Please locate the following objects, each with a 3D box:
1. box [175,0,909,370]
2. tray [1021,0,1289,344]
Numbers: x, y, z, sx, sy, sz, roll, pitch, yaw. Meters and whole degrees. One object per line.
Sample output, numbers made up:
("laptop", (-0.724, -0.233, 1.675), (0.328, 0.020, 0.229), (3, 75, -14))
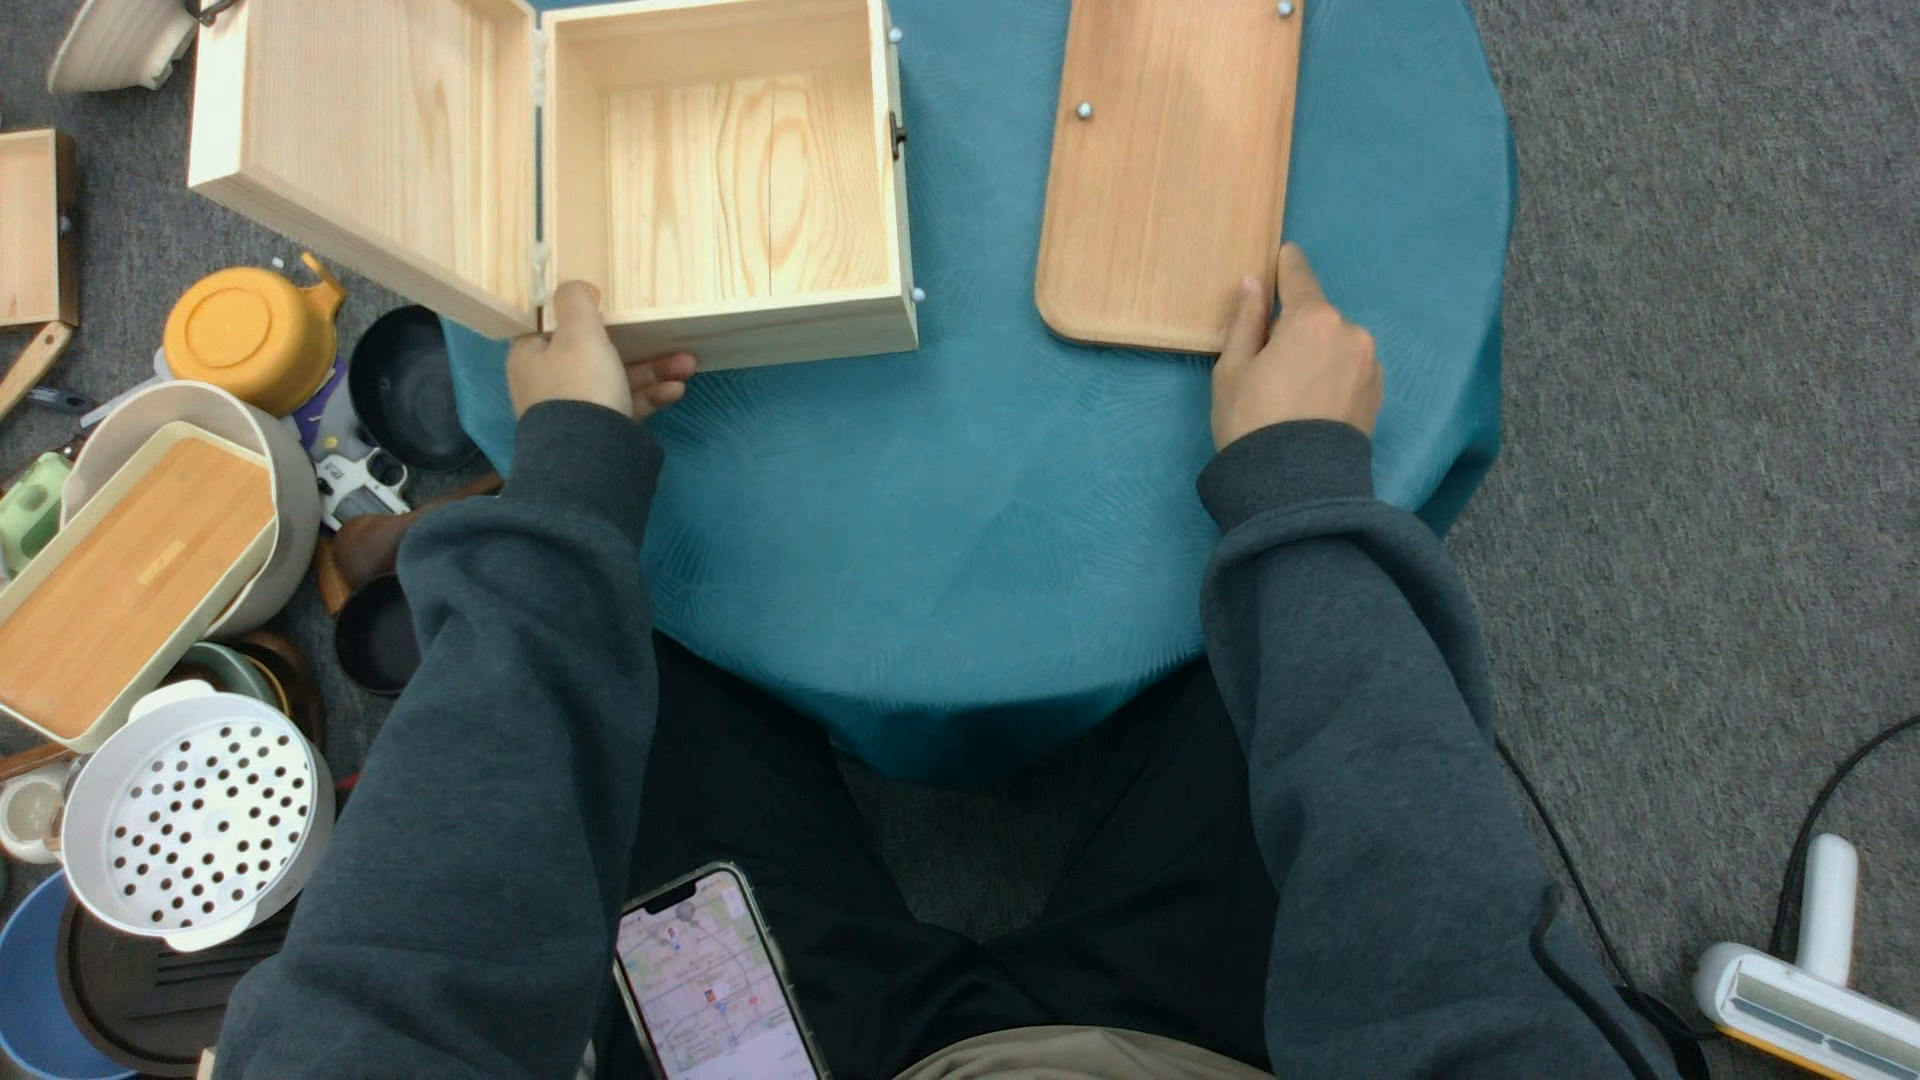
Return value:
("box", (-0.170, -0.209, 0.655), (0.265, 0.253, 0.182), (-6, 79, 4))
("tray", (0.109, -0.227, 0.755), (0.130, 0.023, 0.251), (6, 78, 9))
